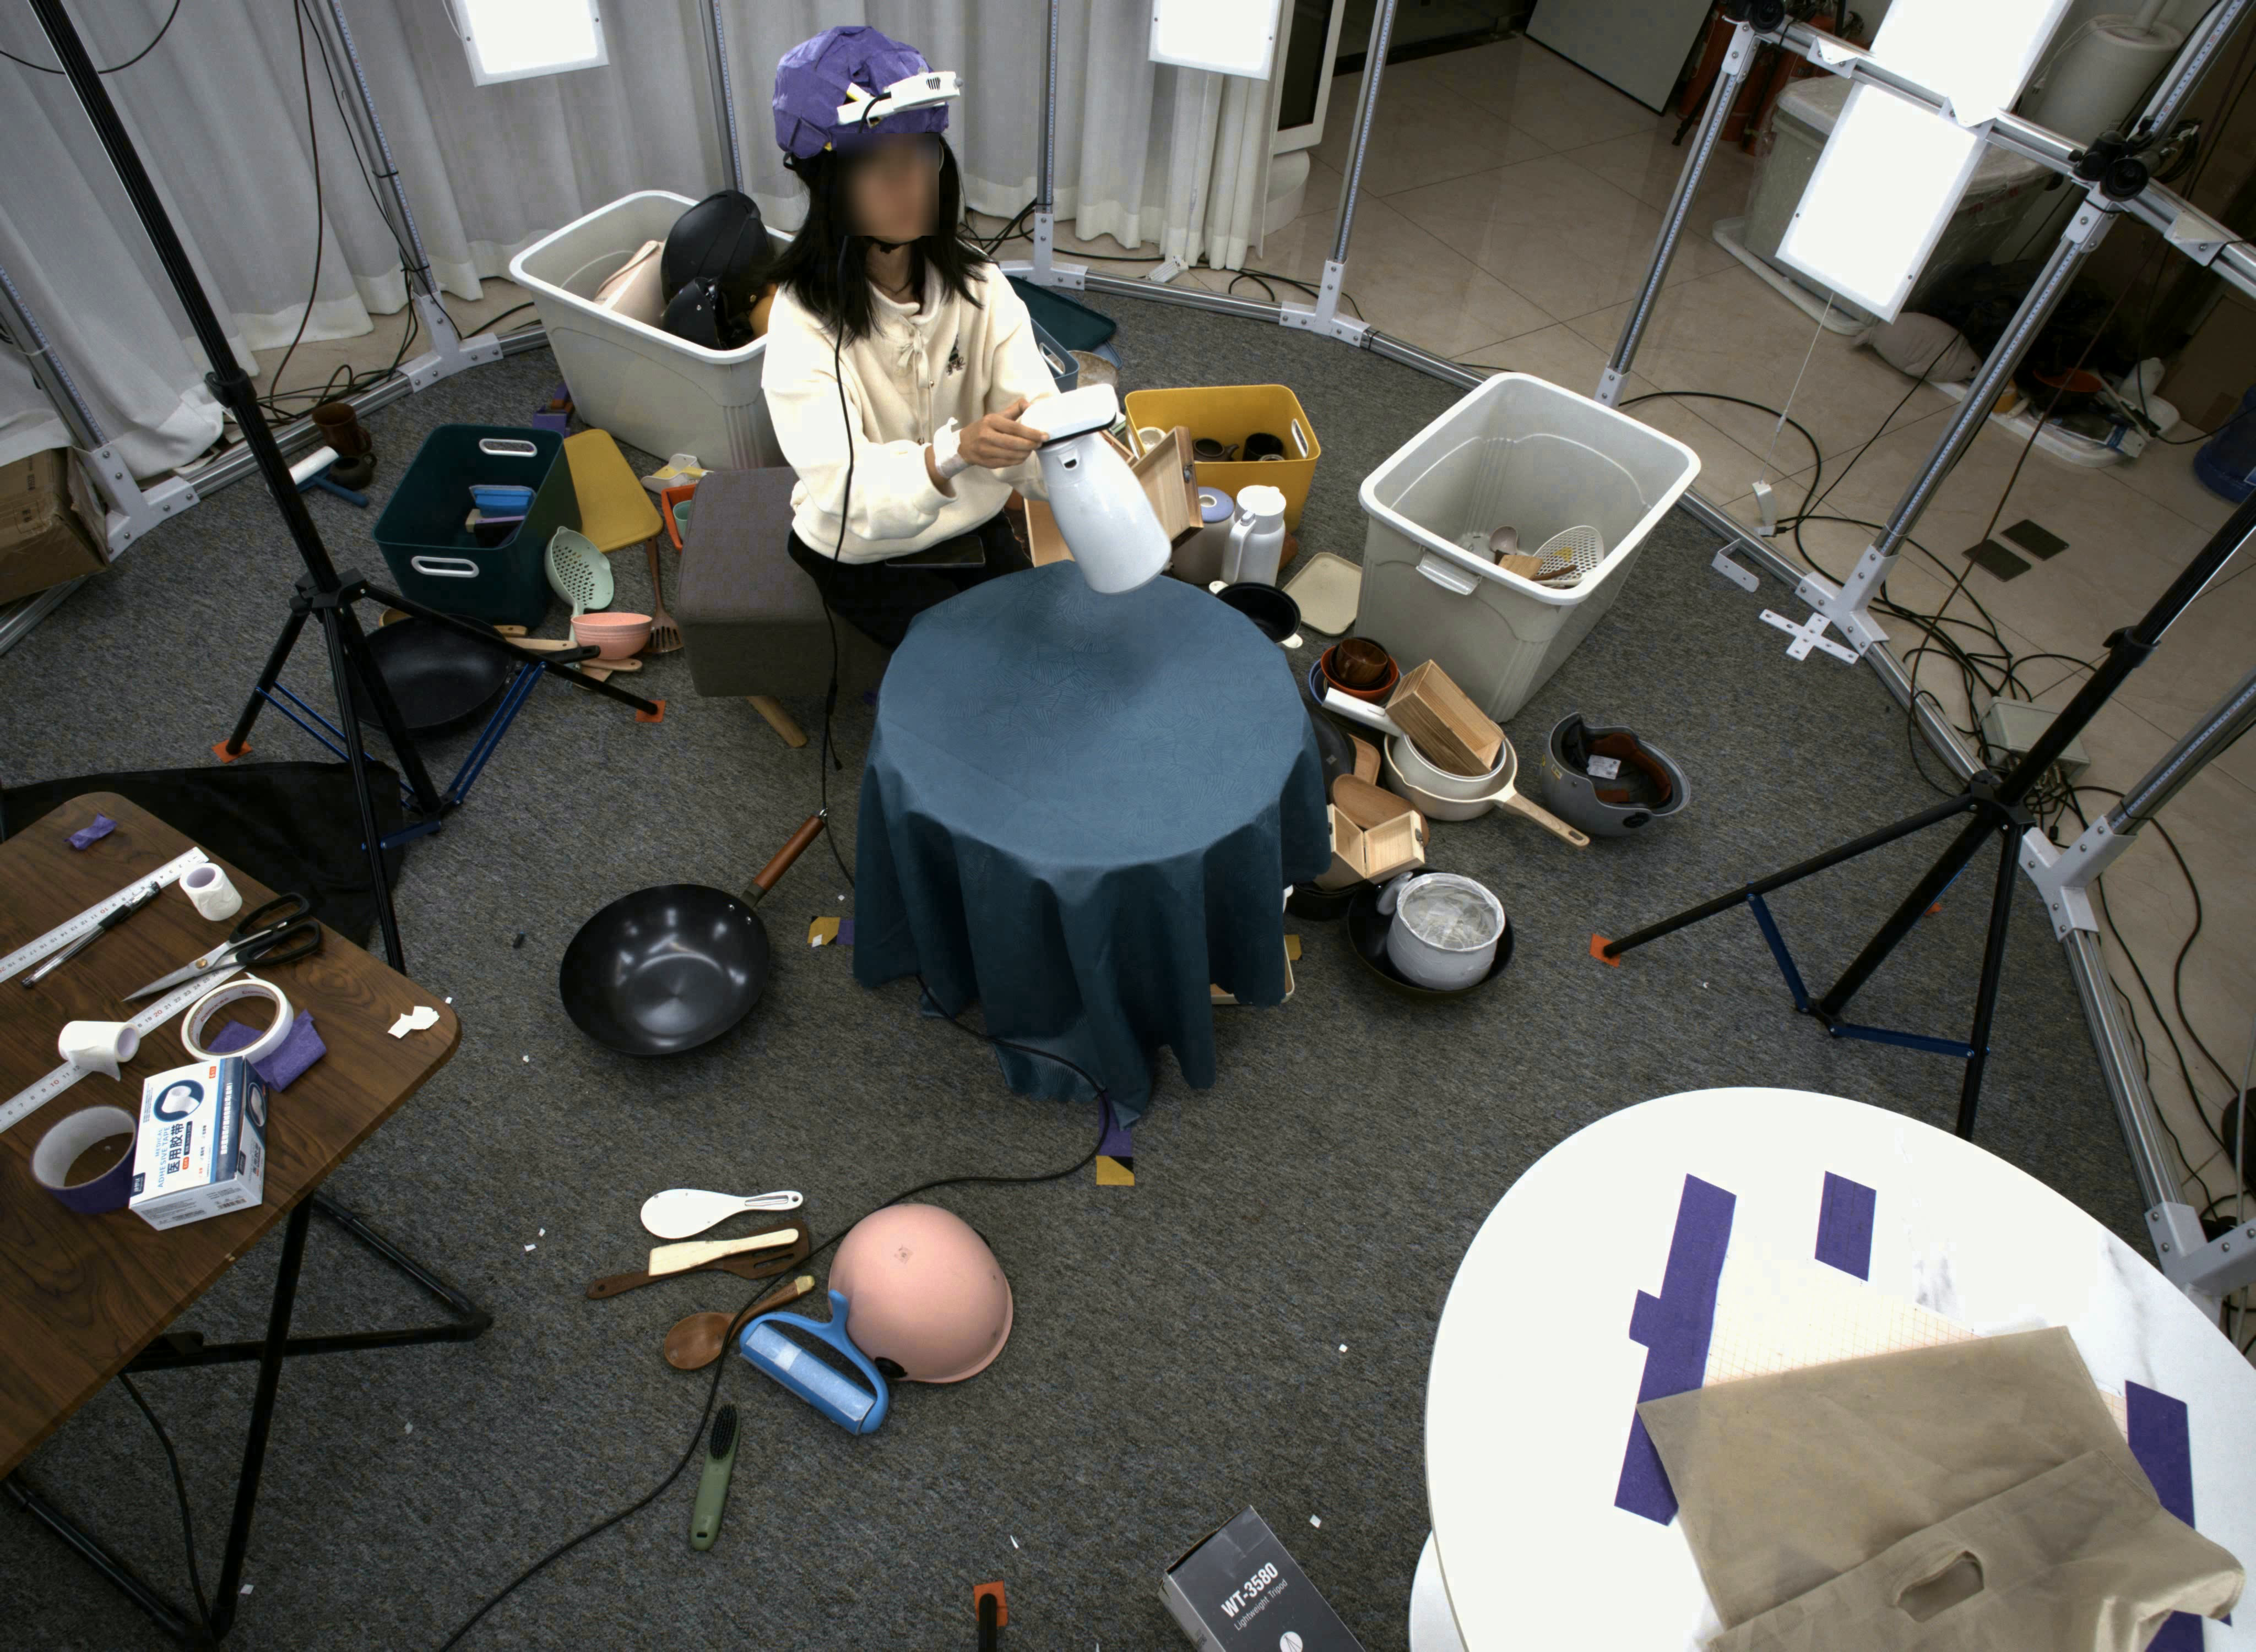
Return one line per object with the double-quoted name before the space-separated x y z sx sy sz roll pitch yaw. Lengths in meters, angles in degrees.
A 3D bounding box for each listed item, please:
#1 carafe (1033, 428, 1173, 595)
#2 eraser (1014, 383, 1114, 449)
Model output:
"carafe" -0.048 -0.464 1.776 0.132 0.243 0.172 -24 43 10
"eraser" -0.082 -0.525 1.654 0.131 0.034 0.065 -9 53 23
